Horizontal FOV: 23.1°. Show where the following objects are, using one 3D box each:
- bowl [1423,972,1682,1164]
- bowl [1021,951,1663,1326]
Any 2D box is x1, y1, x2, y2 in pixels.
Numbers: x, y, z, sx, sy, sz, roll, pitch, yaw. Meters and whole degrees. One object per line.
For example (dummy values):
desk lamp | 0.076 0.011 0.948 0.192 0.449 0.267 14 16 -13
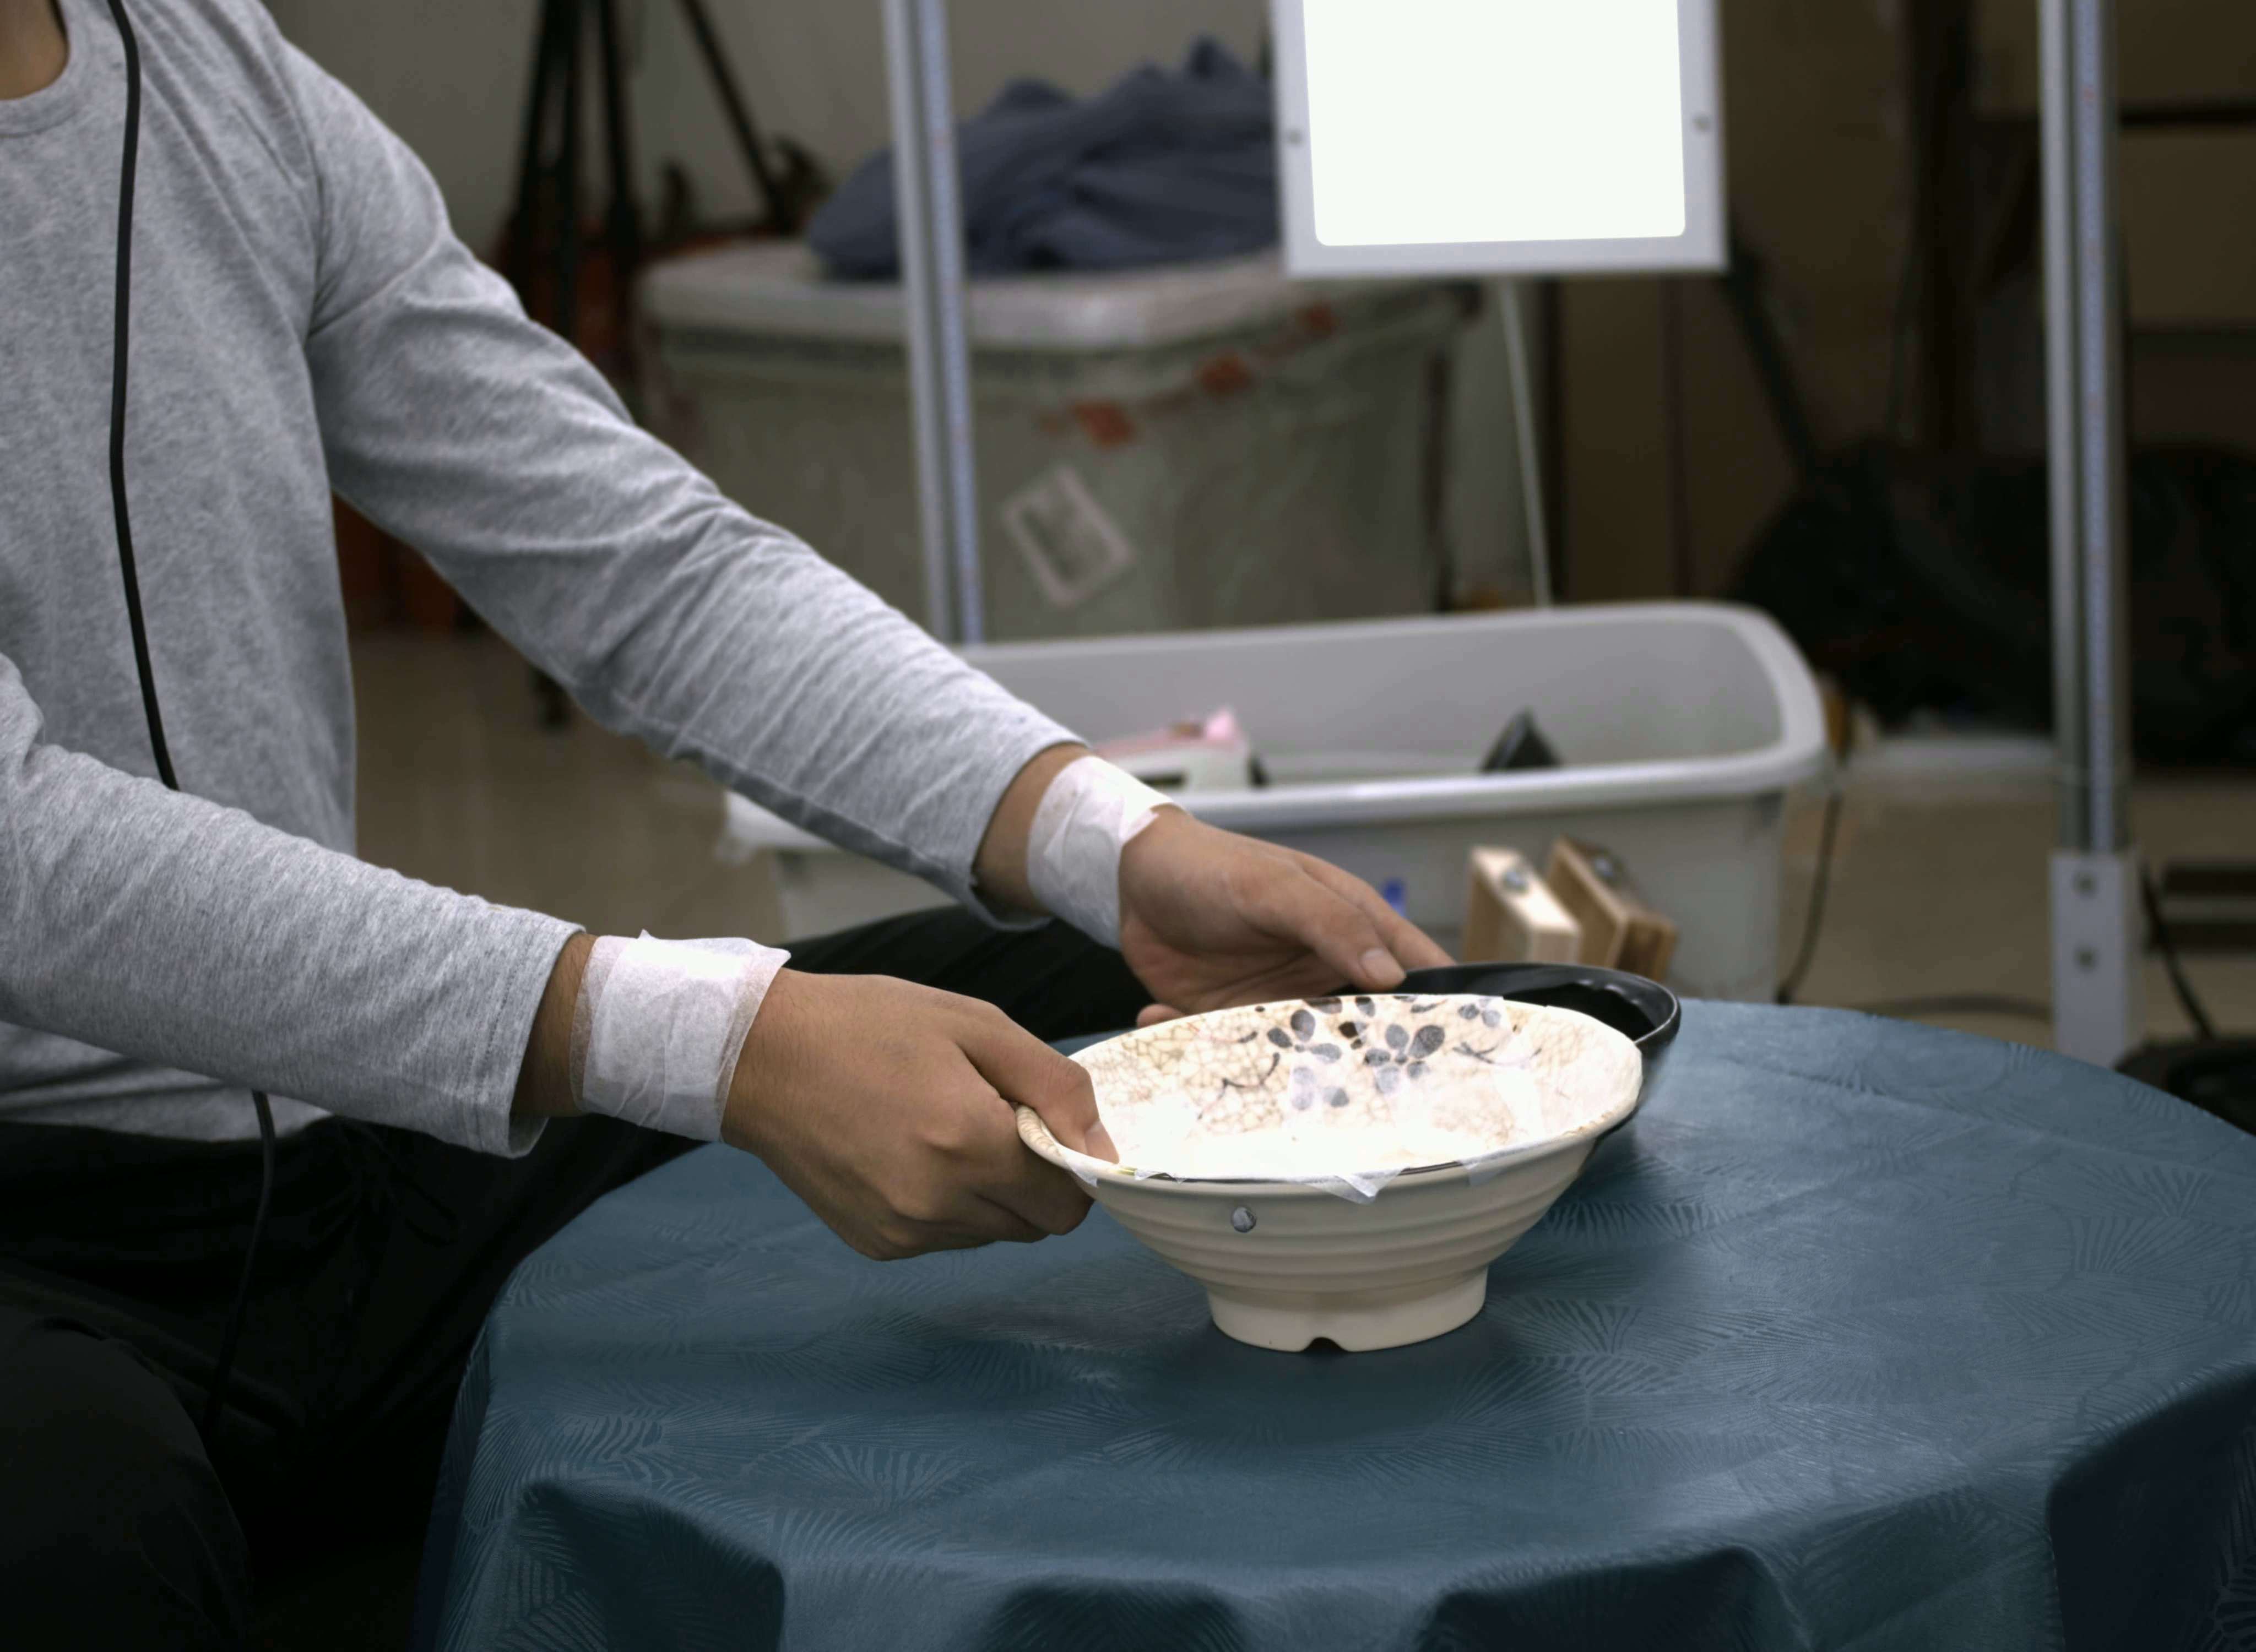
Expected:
bowl | 0.125 0.090 1.909 0.139 0.050 0.140 -6 11 0
bowl | 0.065 0.106 1.739 0.203 0.078 0.203 2 16 -2
